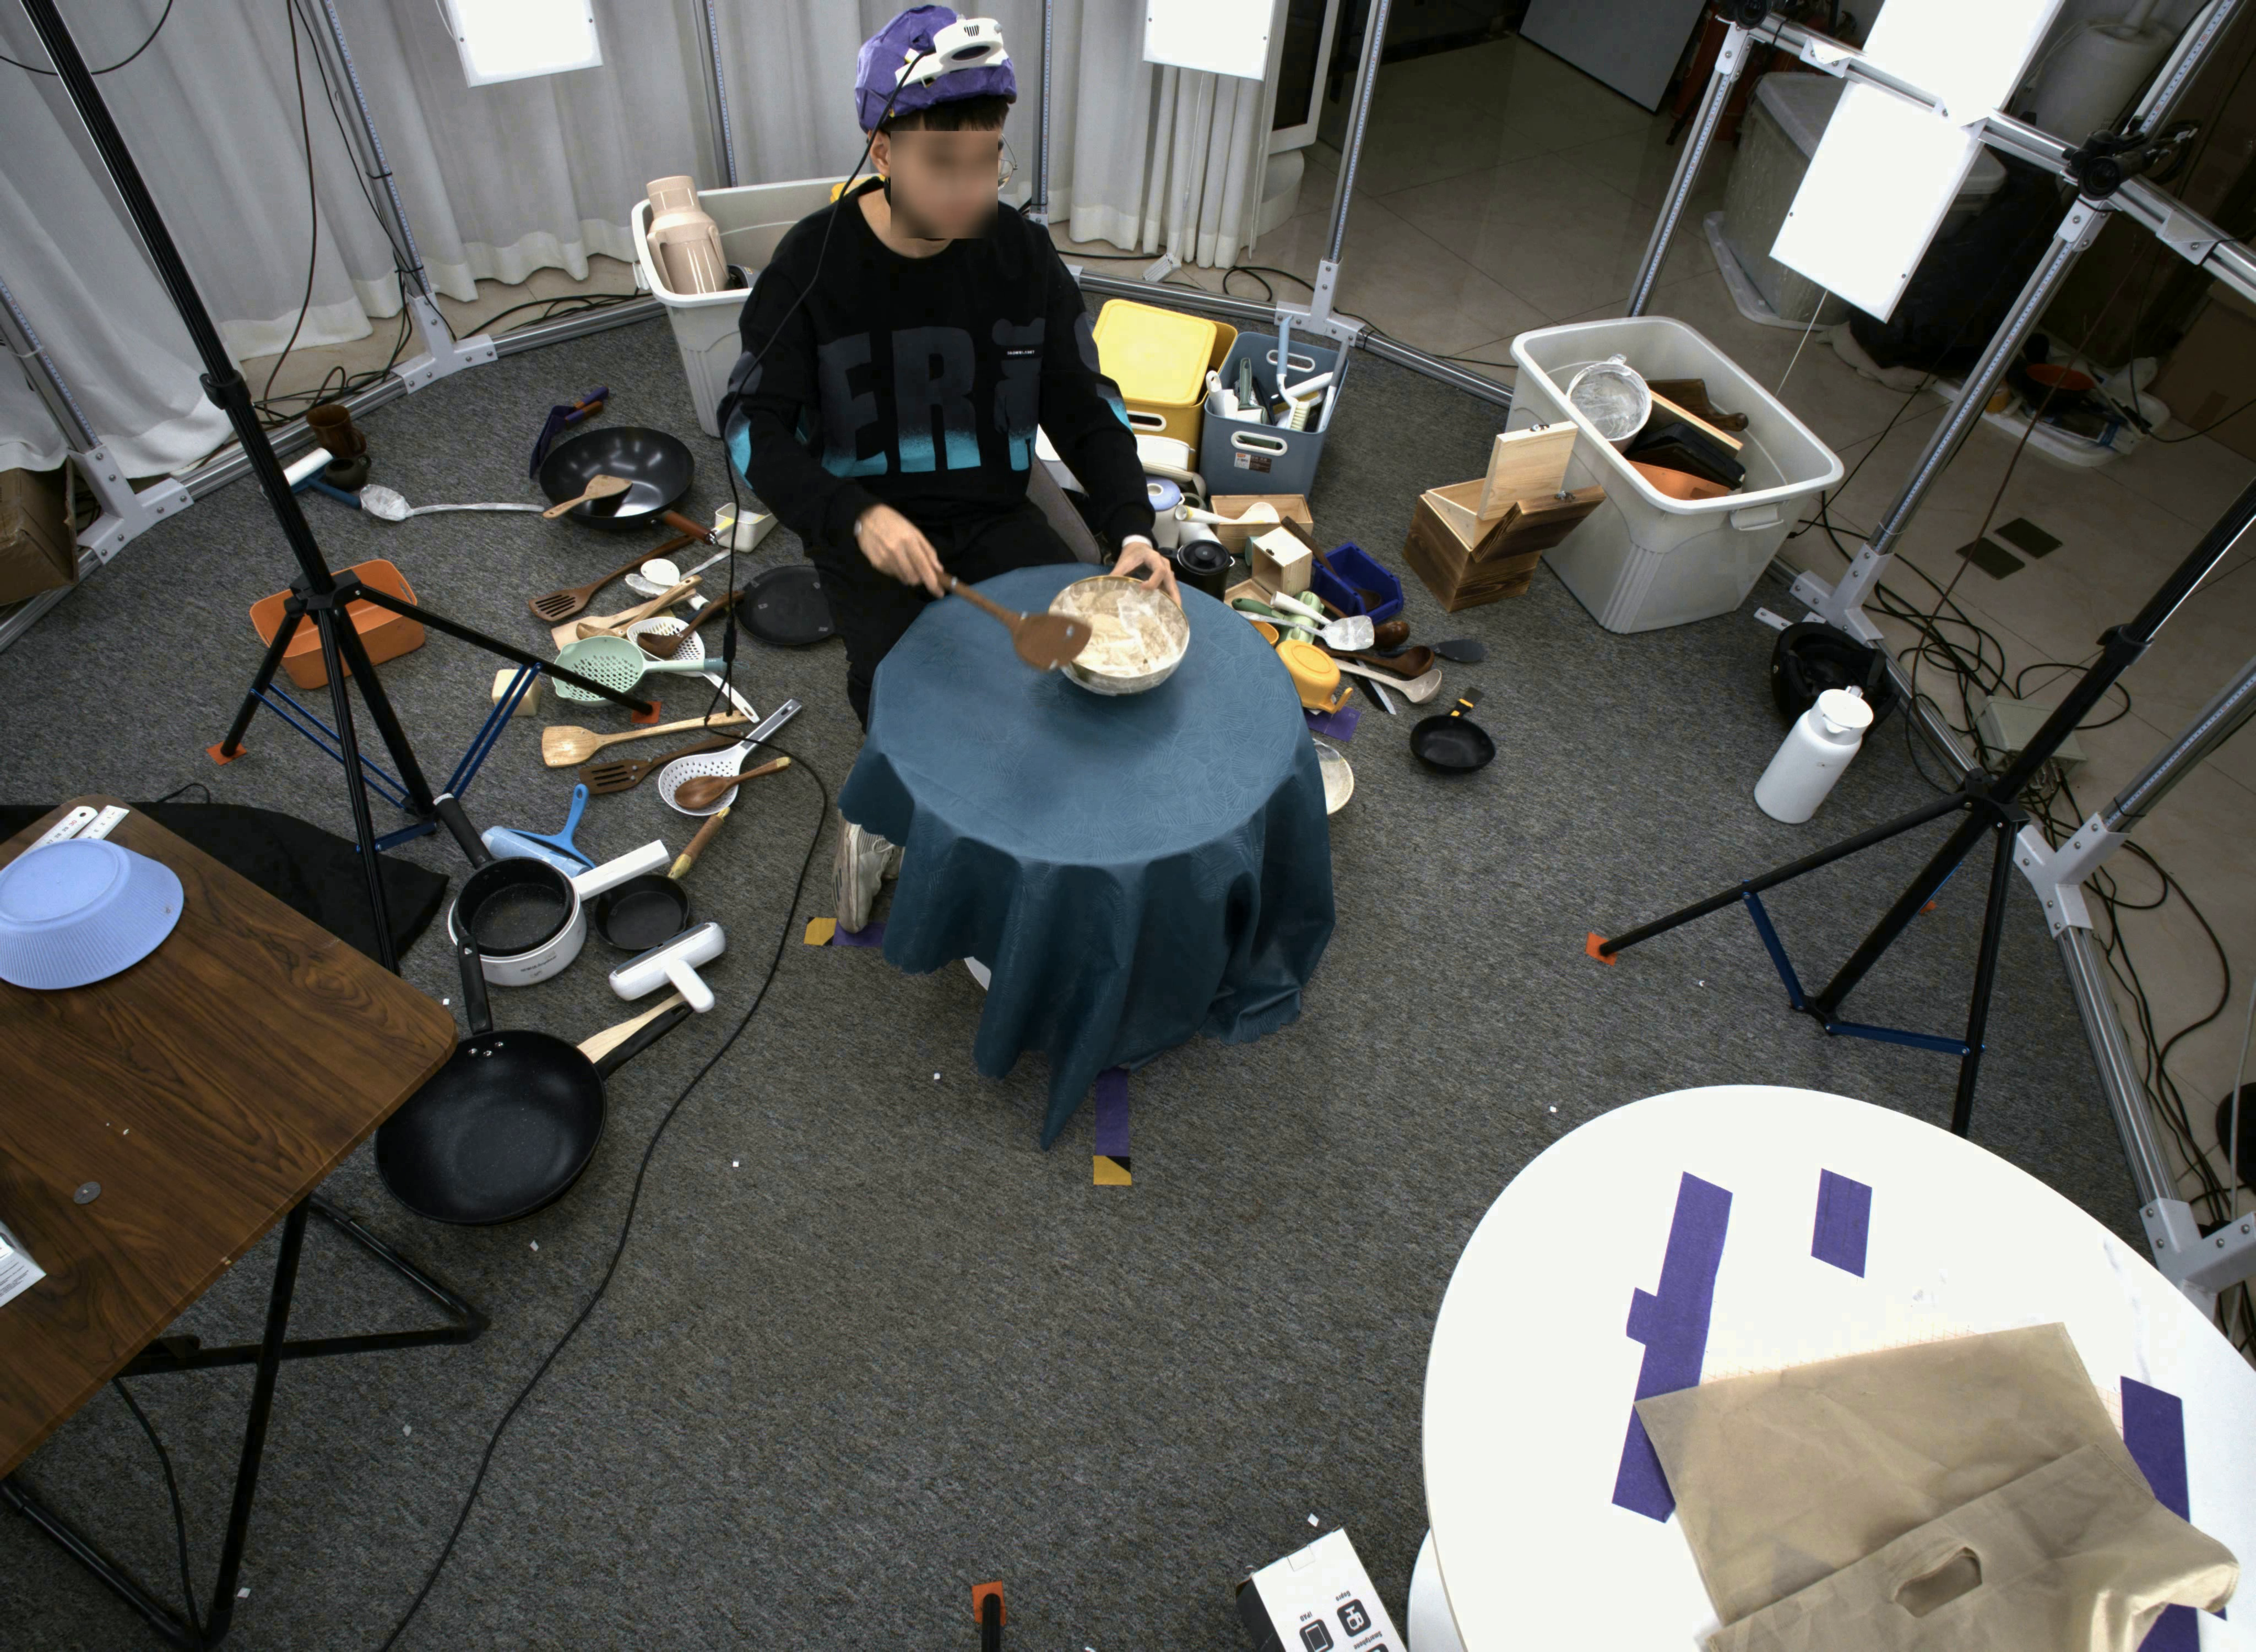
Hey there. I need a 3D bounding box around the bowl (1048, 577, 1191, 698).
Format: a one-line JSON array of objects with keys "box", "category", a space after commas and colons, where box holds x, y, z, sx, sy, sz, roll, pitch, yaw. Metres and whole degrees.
[{"box": [-0.016, -0.255, 1.839, 0.214, 0.092, 0.220, 2, 50, -3], "category": "bowl"}]

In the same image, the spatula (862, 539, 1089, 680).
[{"box": [-0.219, -0.303, 1.736, 0.391, 0.015, 0.097, 32, 65, 23], "category": "spatula"}]
